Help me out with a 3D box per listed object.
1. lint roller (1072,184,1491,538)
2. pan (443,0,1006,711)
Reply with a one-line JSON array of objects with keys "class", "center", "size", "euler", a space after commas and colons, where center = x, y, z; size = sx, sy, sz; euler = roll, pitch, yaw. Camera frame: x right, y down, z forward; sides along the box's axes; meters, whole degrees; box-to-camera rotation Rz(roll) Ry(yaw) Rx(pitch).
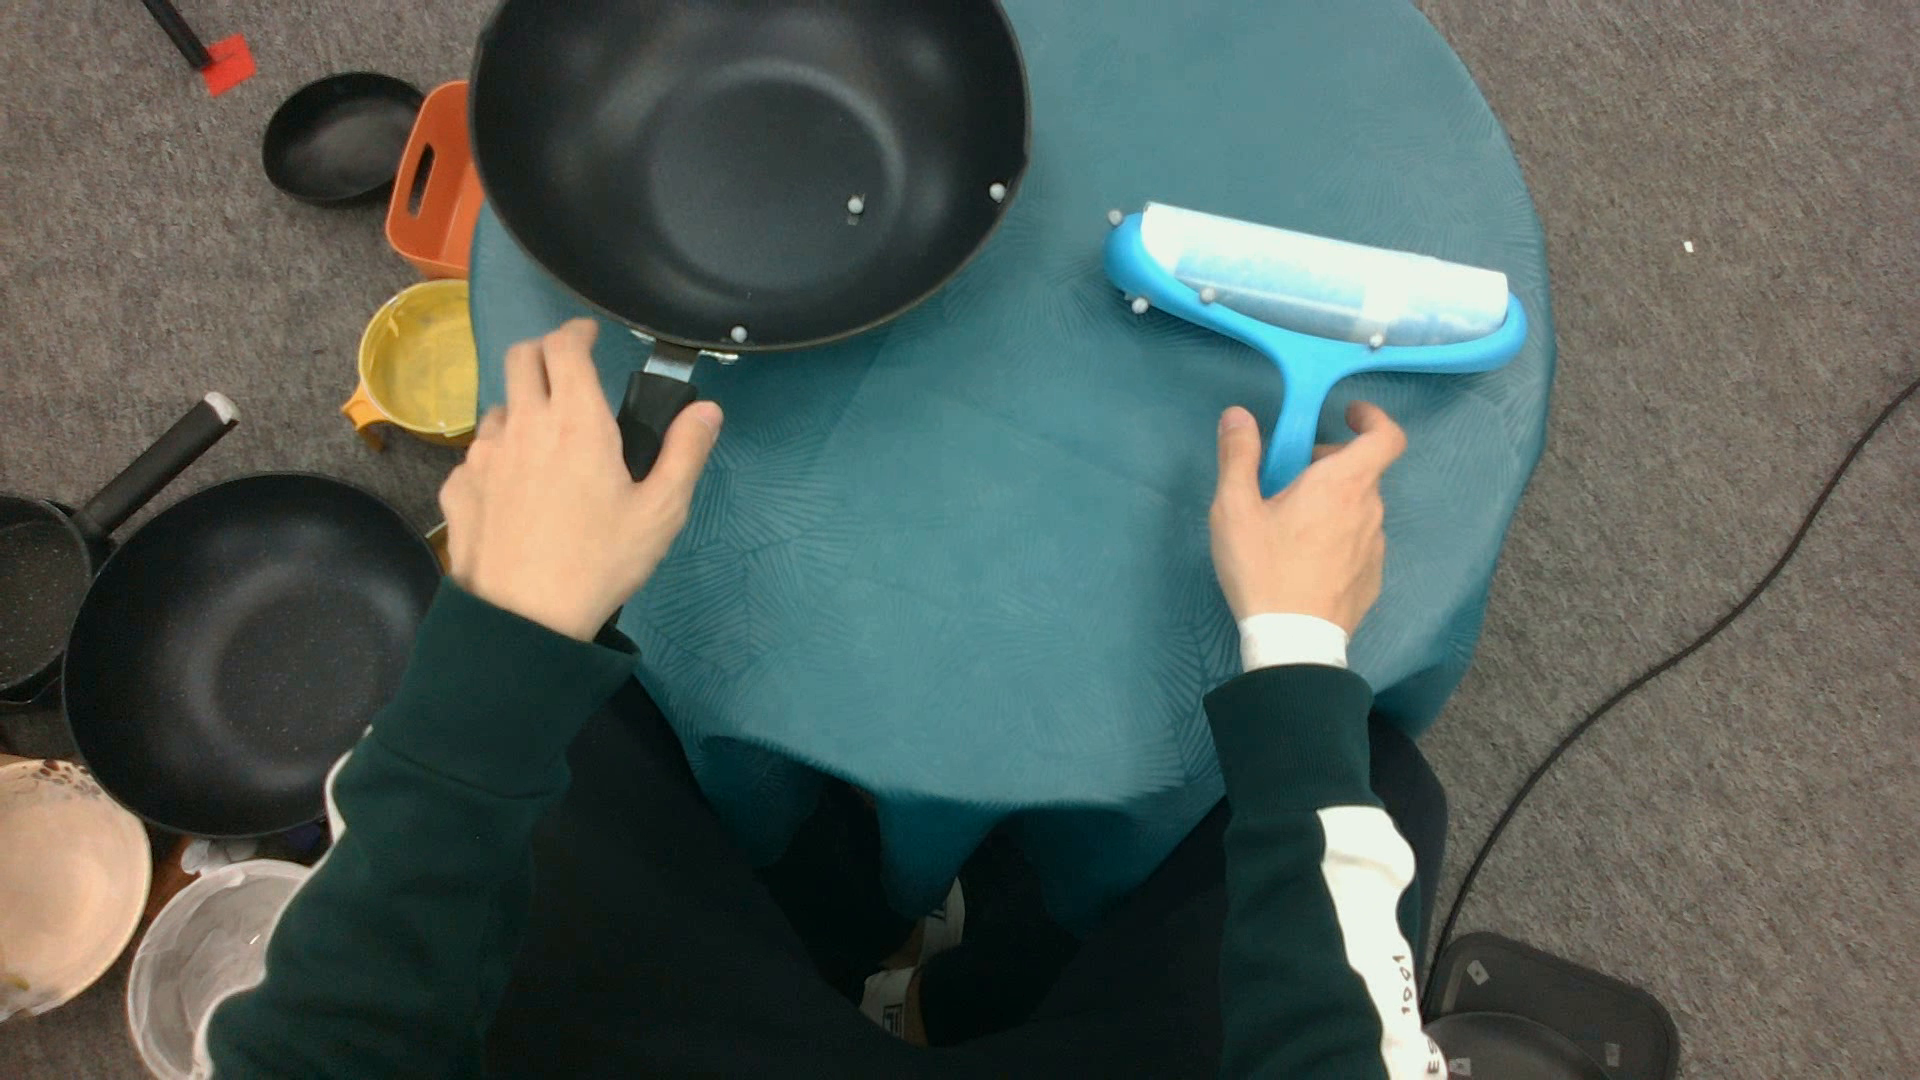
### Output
[{"class": "lint roller", "center": [0.167, -0.094, 0.729], "size": [0.229, 0.067, 0.181], "euler": [8, 71, -3]}, {"class": "pan", "center": [-0.140, -0.132, 0.708], "size": [0.288, 0.086, 0.464], "euler": [13, 74, 1]}]
